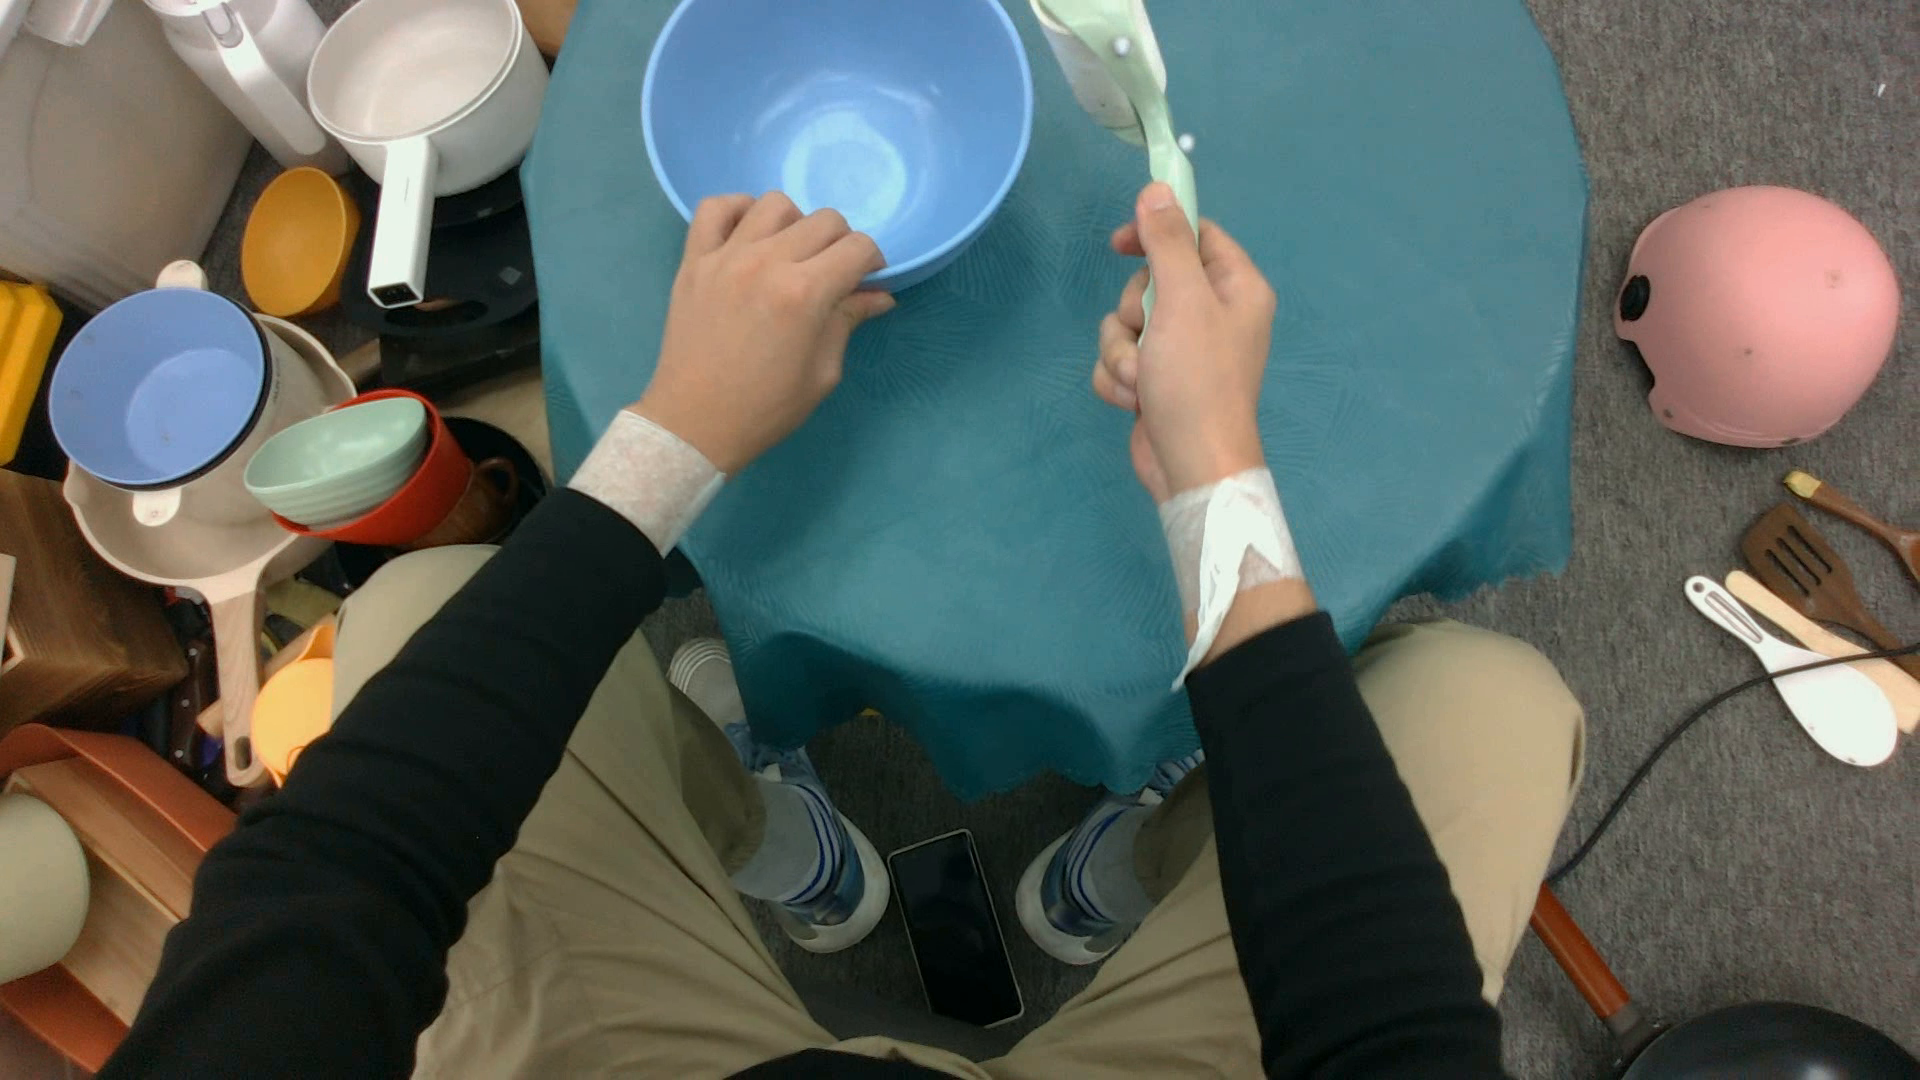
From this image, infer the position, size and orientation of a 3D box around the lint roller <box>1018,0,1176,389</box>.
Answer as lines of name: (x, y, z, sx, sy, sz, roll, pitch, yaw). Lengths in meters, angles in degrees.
lint roller: (0.073, -0.168, 0.635, 0.048, 0.116, 0.198, -14, 80, 11)

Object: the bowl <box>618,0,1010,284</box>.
bowl: (-0.074, -0.217, 0.735, 0.196, 0.095, 0.197, 1, 76, -2)
